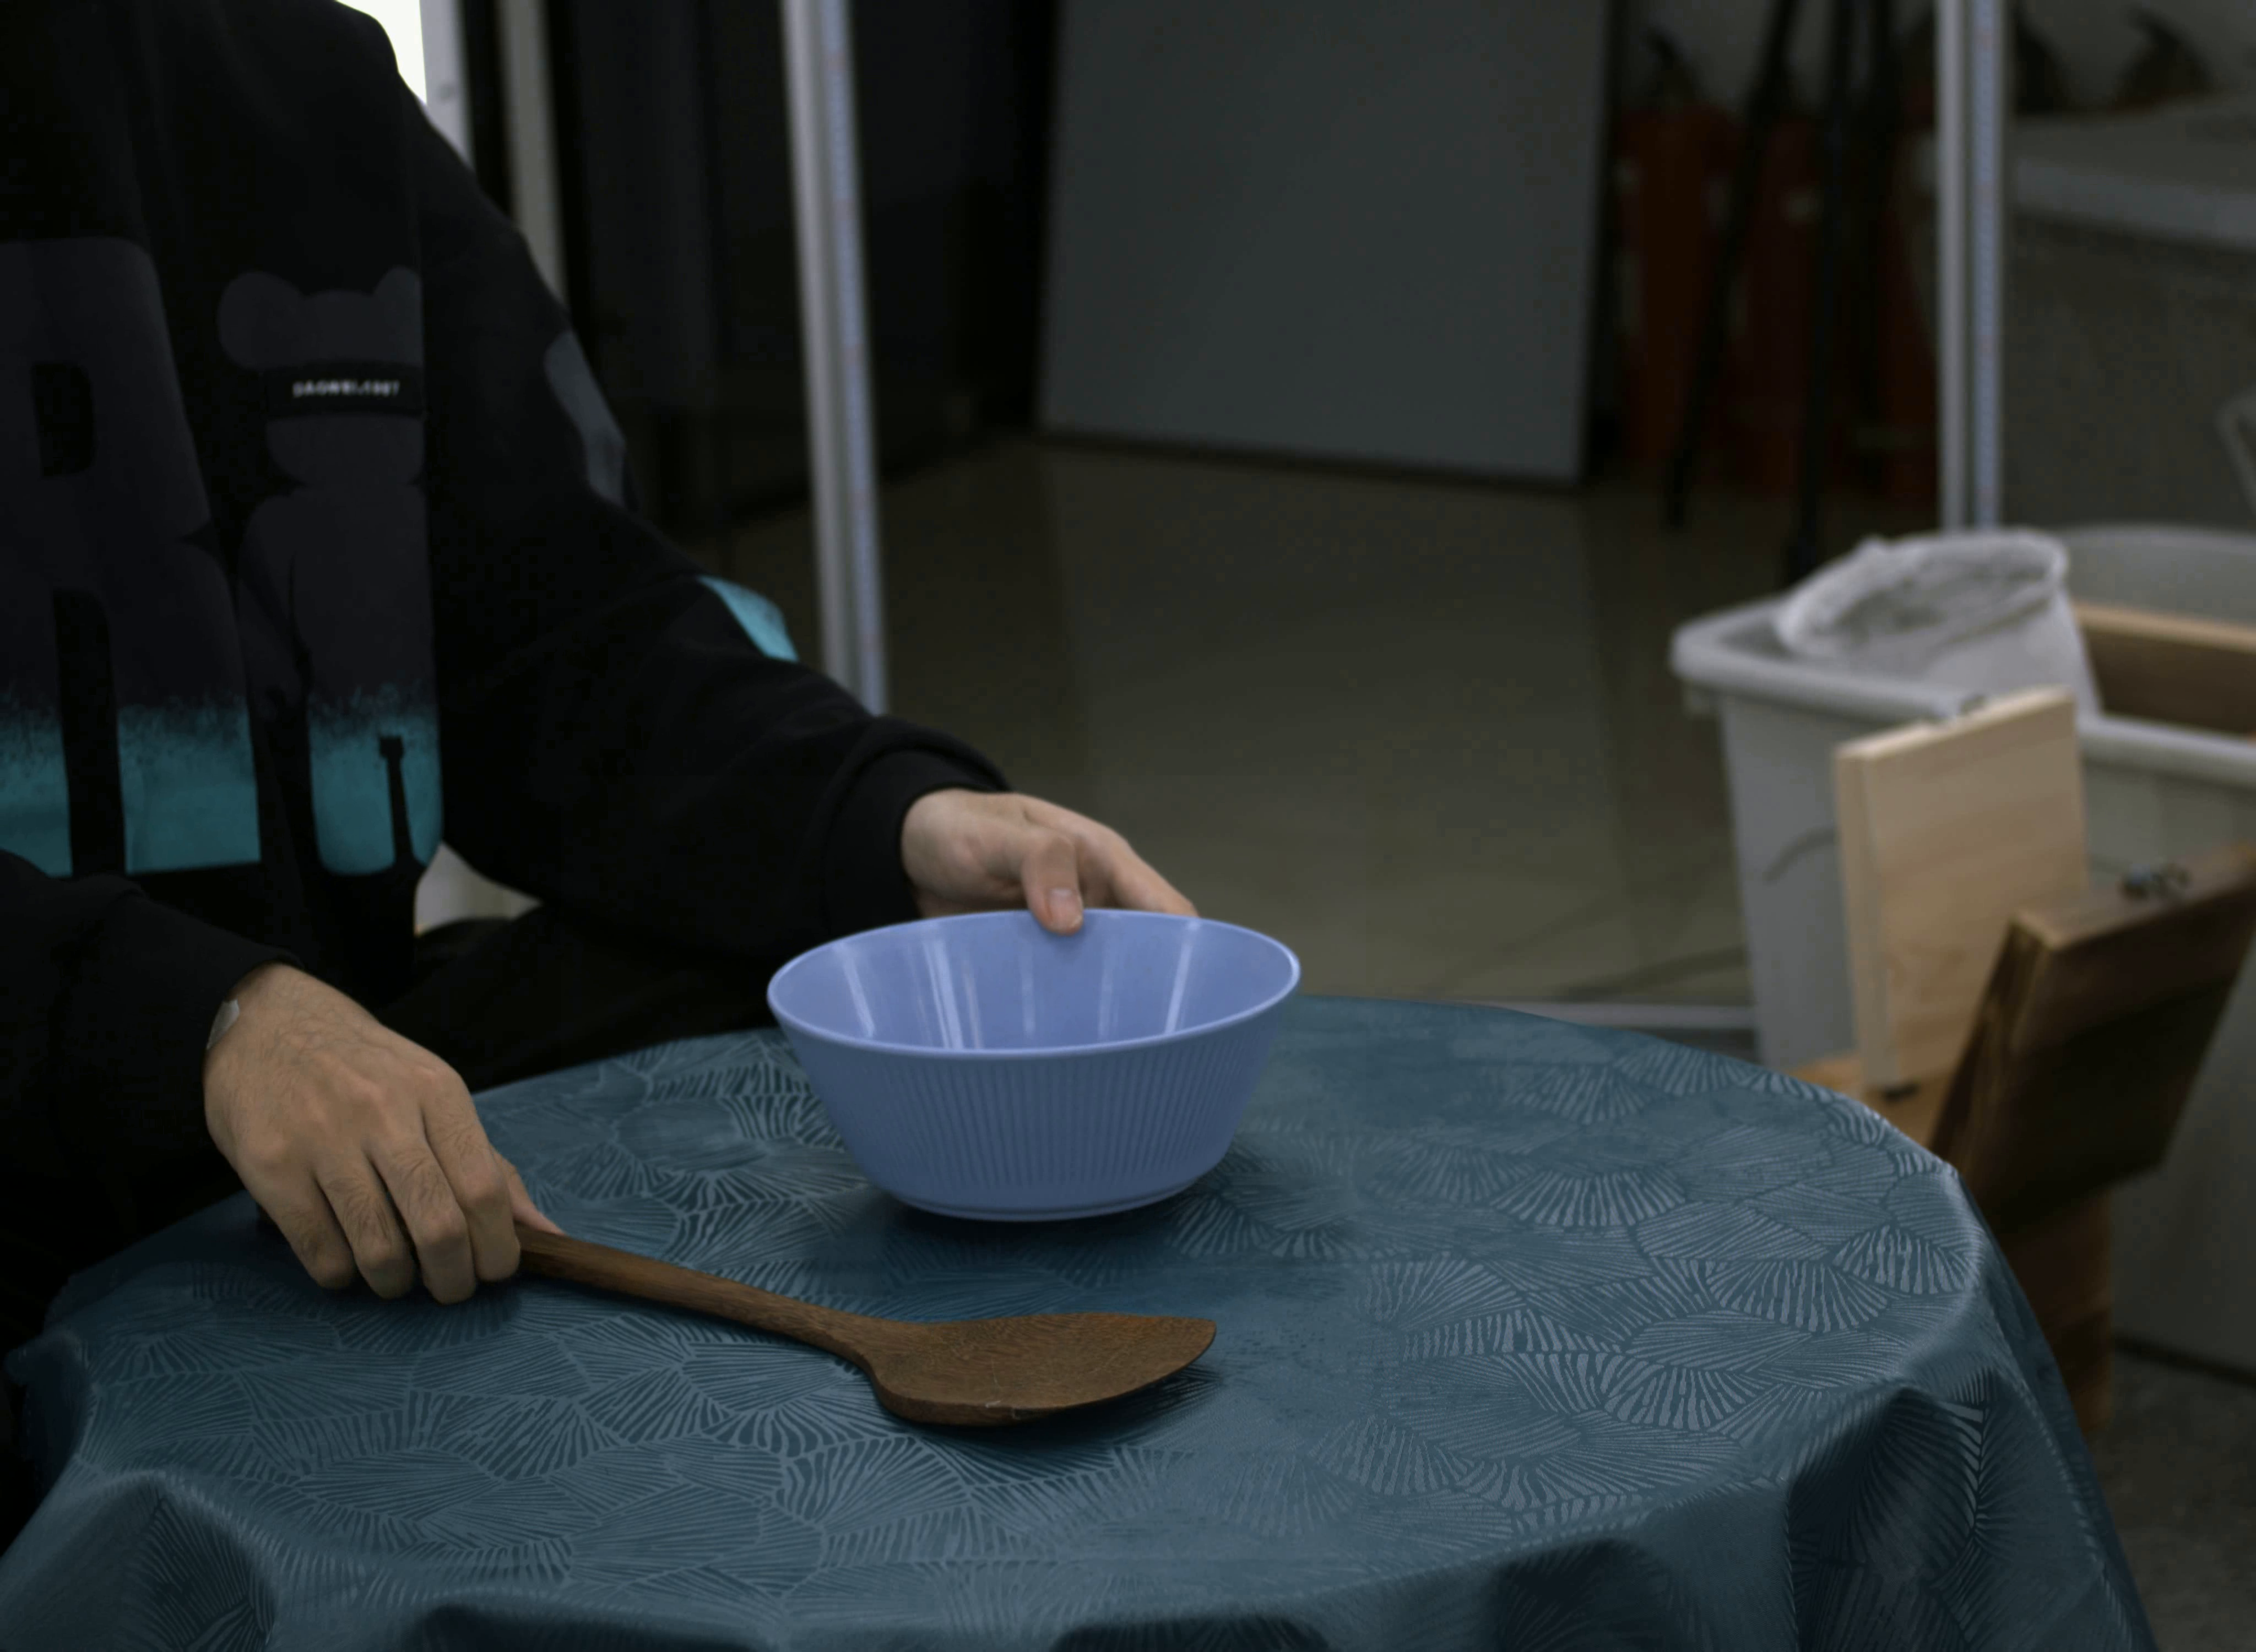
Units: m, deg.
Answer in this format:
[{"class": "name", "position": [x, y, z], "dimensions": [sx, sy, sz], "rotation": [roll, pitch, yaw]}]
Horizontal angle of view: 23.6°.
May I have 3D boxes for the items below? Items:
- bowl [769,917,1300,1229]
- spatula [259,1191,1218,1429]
[{"class": "bowl", "position": [-0.028, 0.082, 1.759], "dimensions": [0.174, 0.071, 0.176], "rotation": [-4, 12, 0]}, {"class": "spatula", "position": [-0.139, 0.146, 1.683], "dimensions": [0.389, 0.016, 0.094], "rotation": [8, 18, 40]}]
